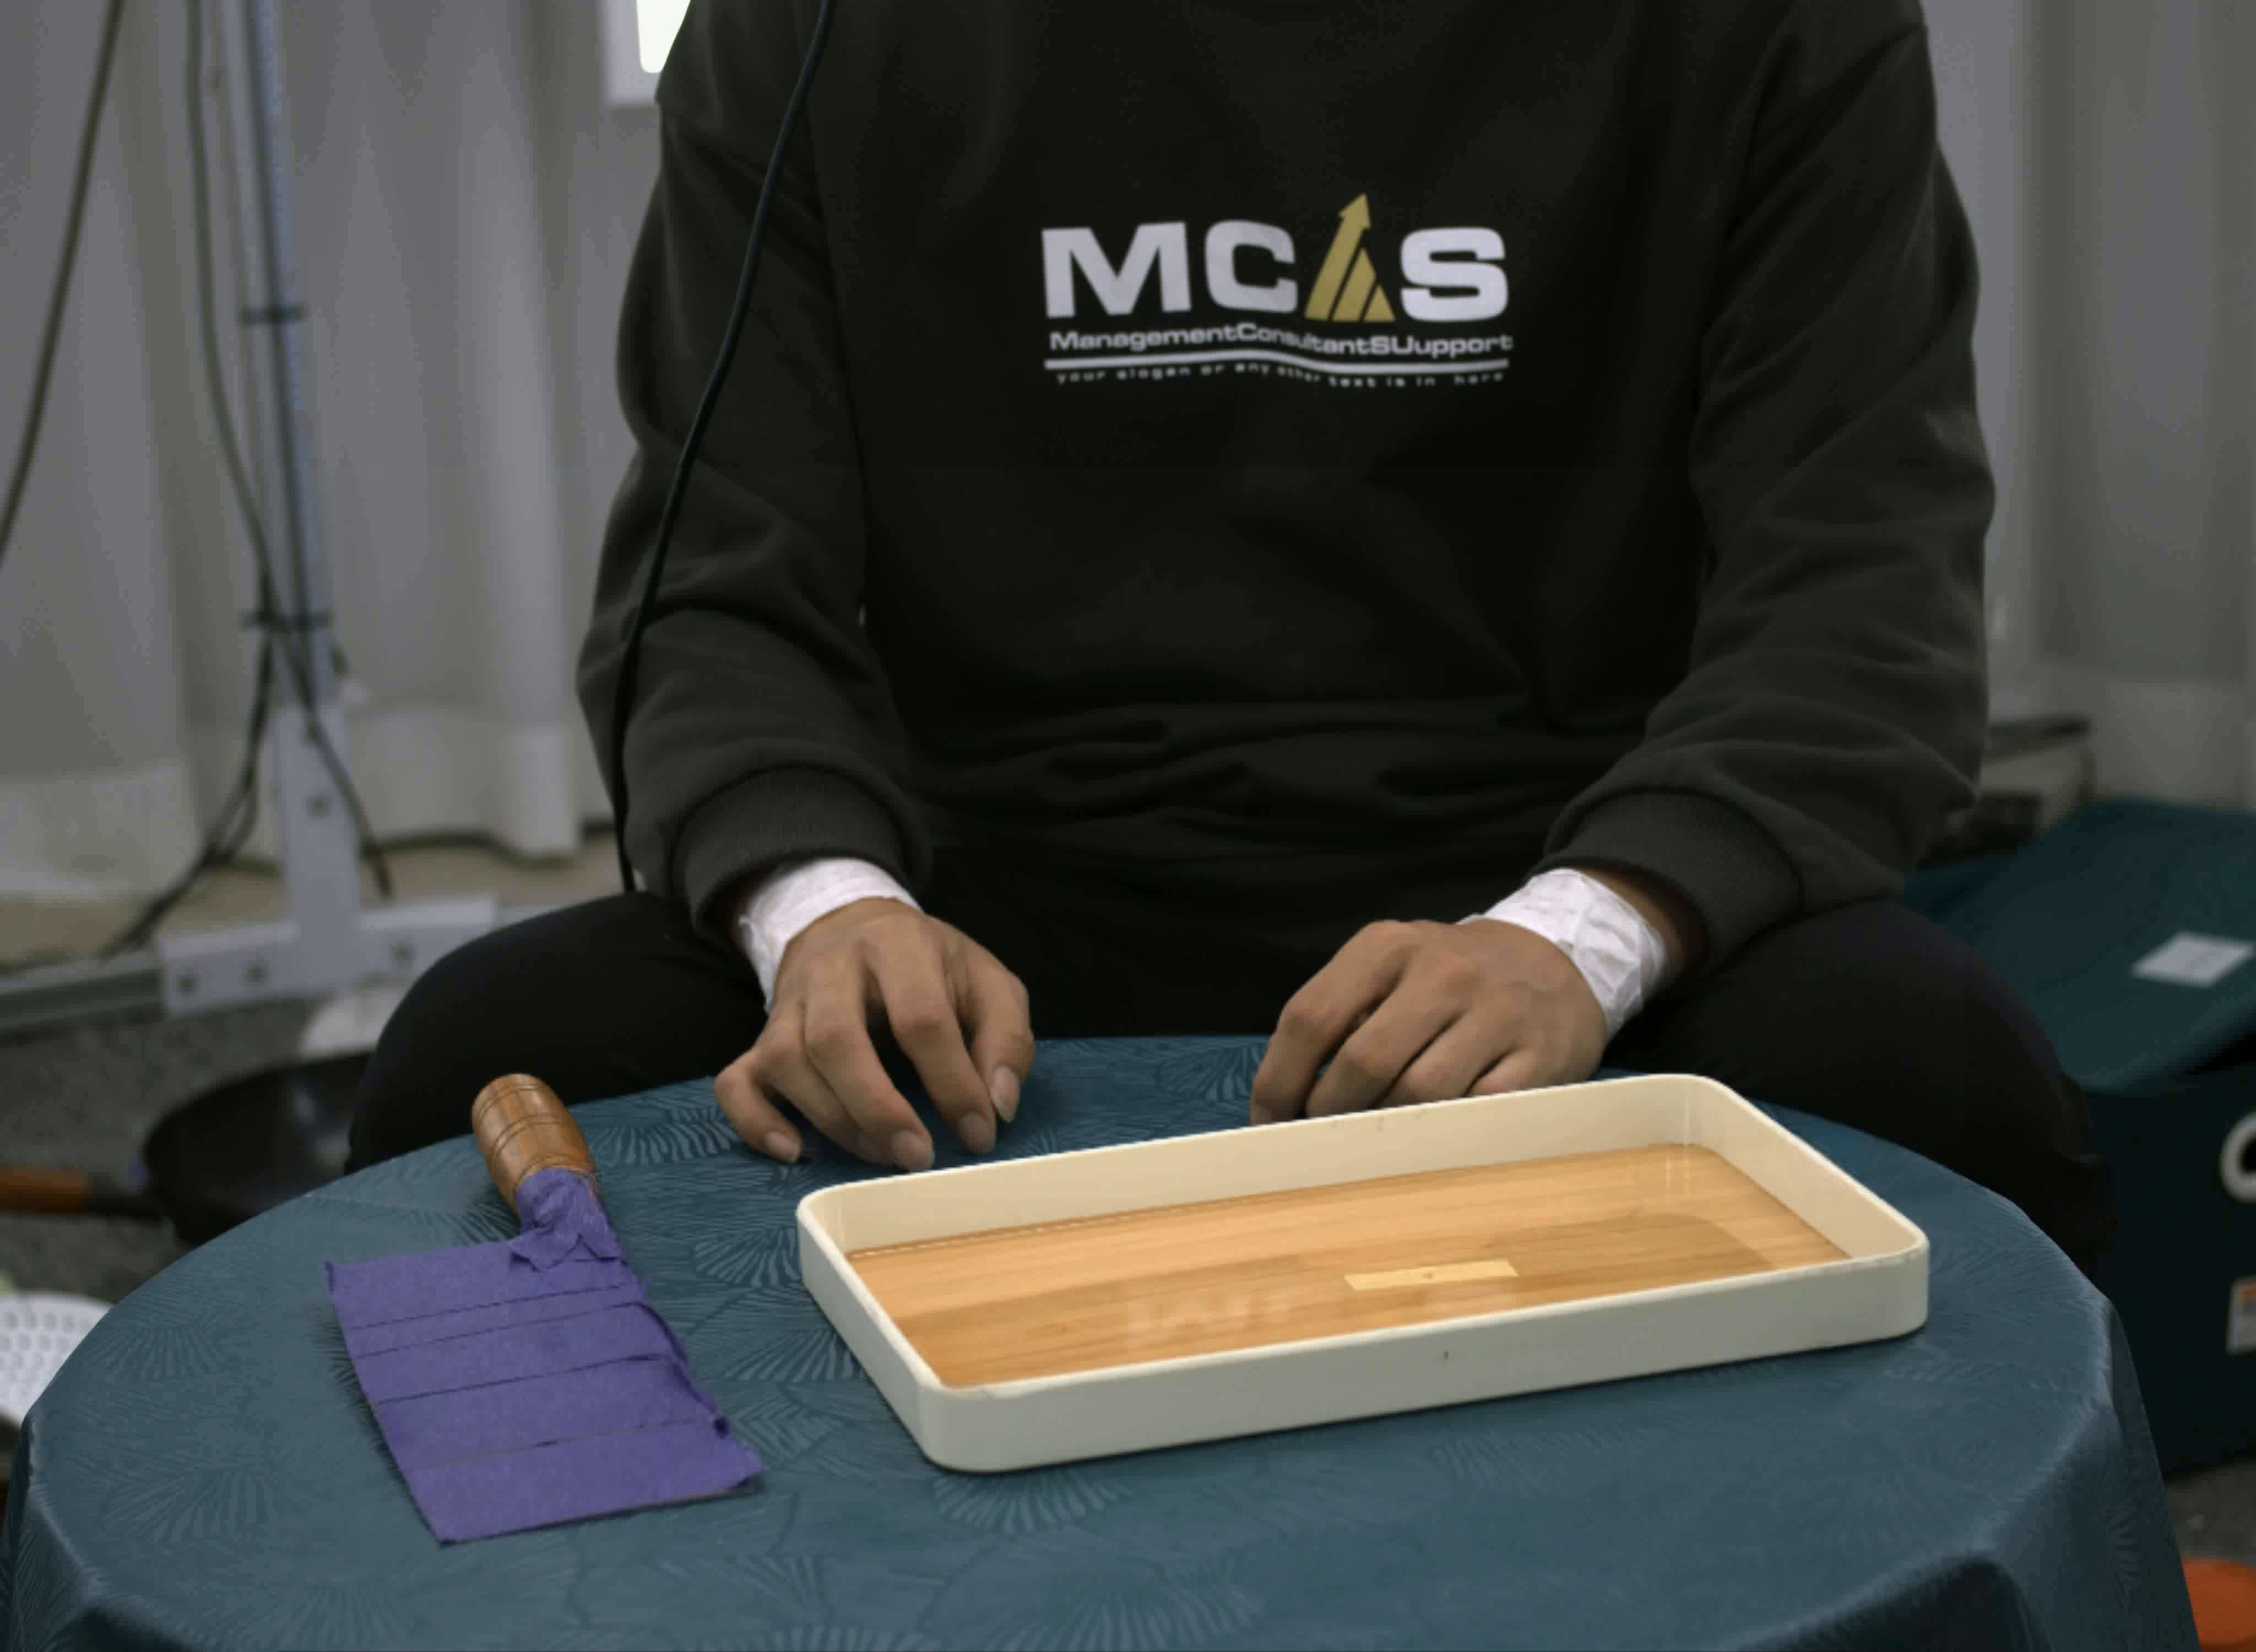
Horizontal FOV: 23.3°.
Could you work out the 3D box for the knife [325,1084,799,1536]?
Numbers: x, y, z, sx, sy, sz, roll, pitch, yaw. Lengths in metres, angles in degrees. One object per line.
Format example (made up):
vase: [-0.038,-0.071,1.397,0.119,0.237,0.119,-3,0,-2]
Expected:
knife: [-0.185,0.138,1.611,0.103,0.032,0.318,-7,16,-16]

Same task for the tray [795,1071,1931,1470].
tray: [0.065,0.127,1.605,0.299,0.027,0.193,-7,15,-15]
